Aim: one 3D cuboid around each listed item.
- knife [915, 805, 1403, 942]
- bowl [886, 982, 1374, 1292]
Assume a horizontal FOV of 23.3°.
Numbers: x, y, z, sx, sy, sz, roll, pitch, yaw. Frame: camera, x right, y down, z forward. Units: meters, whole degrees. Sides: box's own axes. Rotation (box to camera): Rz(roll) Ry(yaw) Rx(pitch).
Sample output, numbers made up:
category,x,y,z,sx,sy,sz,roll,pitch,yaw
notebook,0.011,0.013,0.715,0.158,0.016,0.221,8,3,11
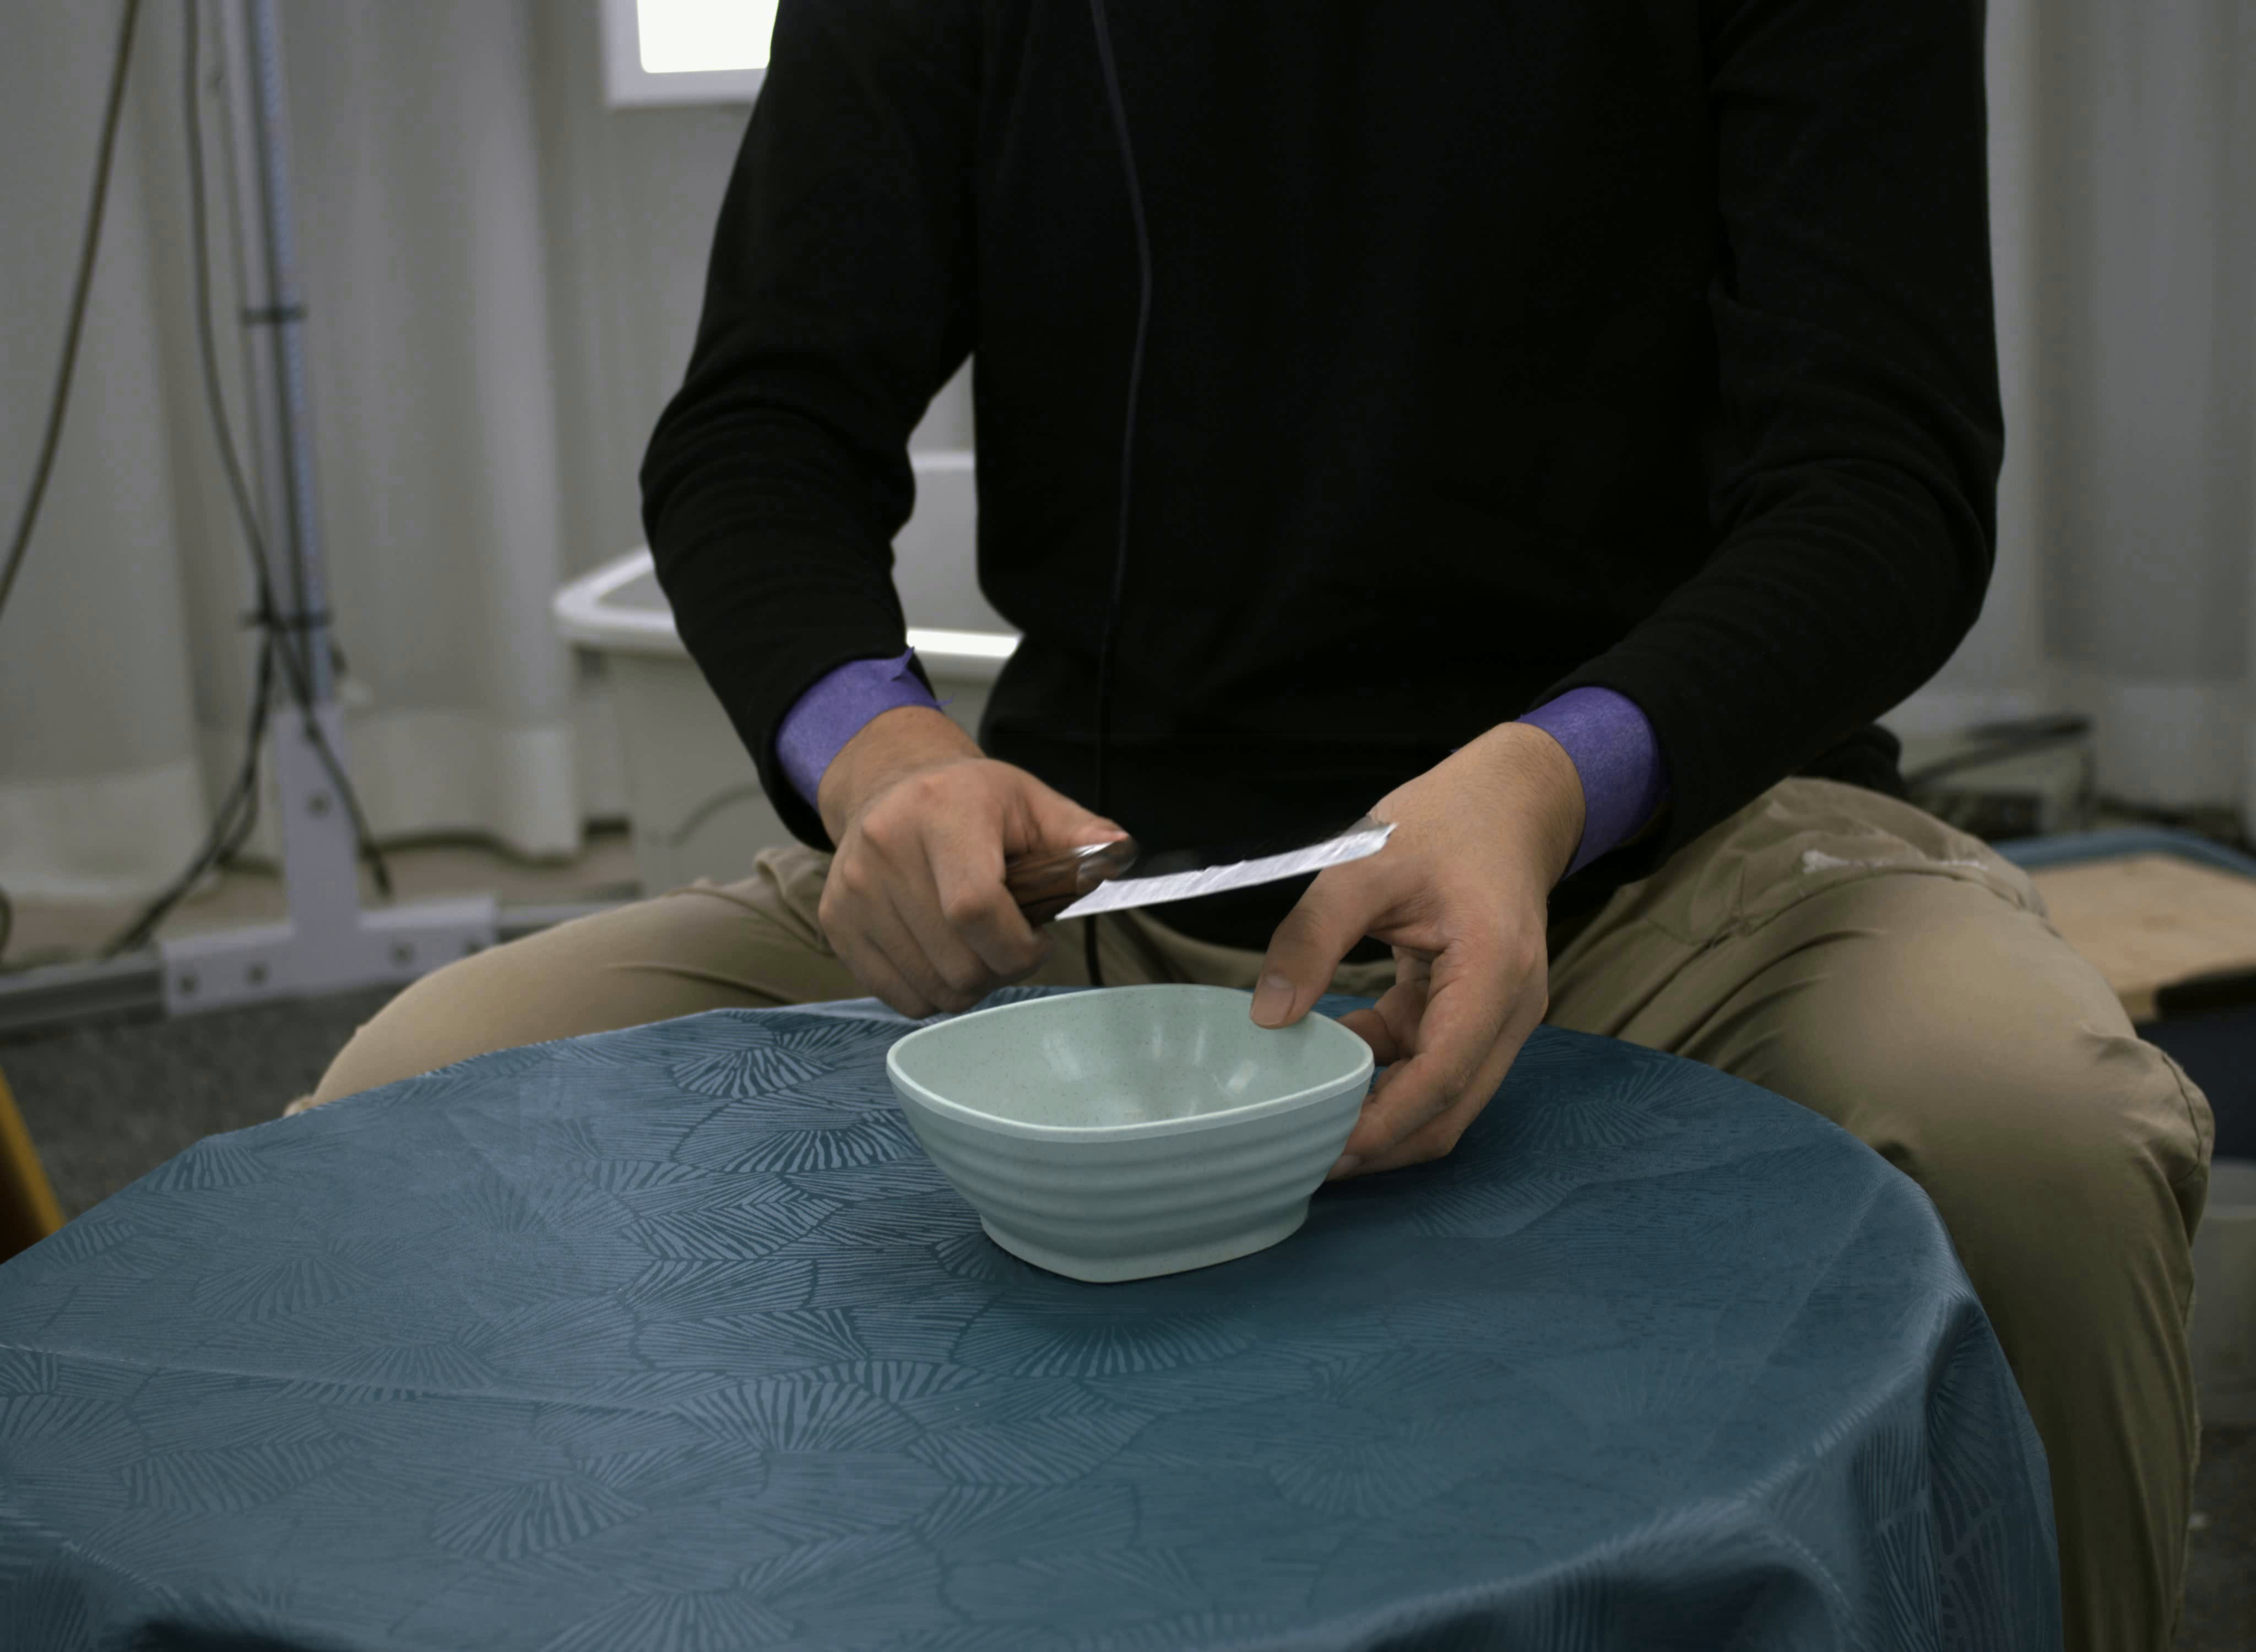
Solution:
category,x,y,z,sx,sy,sz,roll,pitch,yaw
knife,0.007,0.016,1.742,0.050,0.020,0.289,-33,12,-28
bowl,0.001,0.098,1.670,0.151,0.058,0.152,-2,16,0
